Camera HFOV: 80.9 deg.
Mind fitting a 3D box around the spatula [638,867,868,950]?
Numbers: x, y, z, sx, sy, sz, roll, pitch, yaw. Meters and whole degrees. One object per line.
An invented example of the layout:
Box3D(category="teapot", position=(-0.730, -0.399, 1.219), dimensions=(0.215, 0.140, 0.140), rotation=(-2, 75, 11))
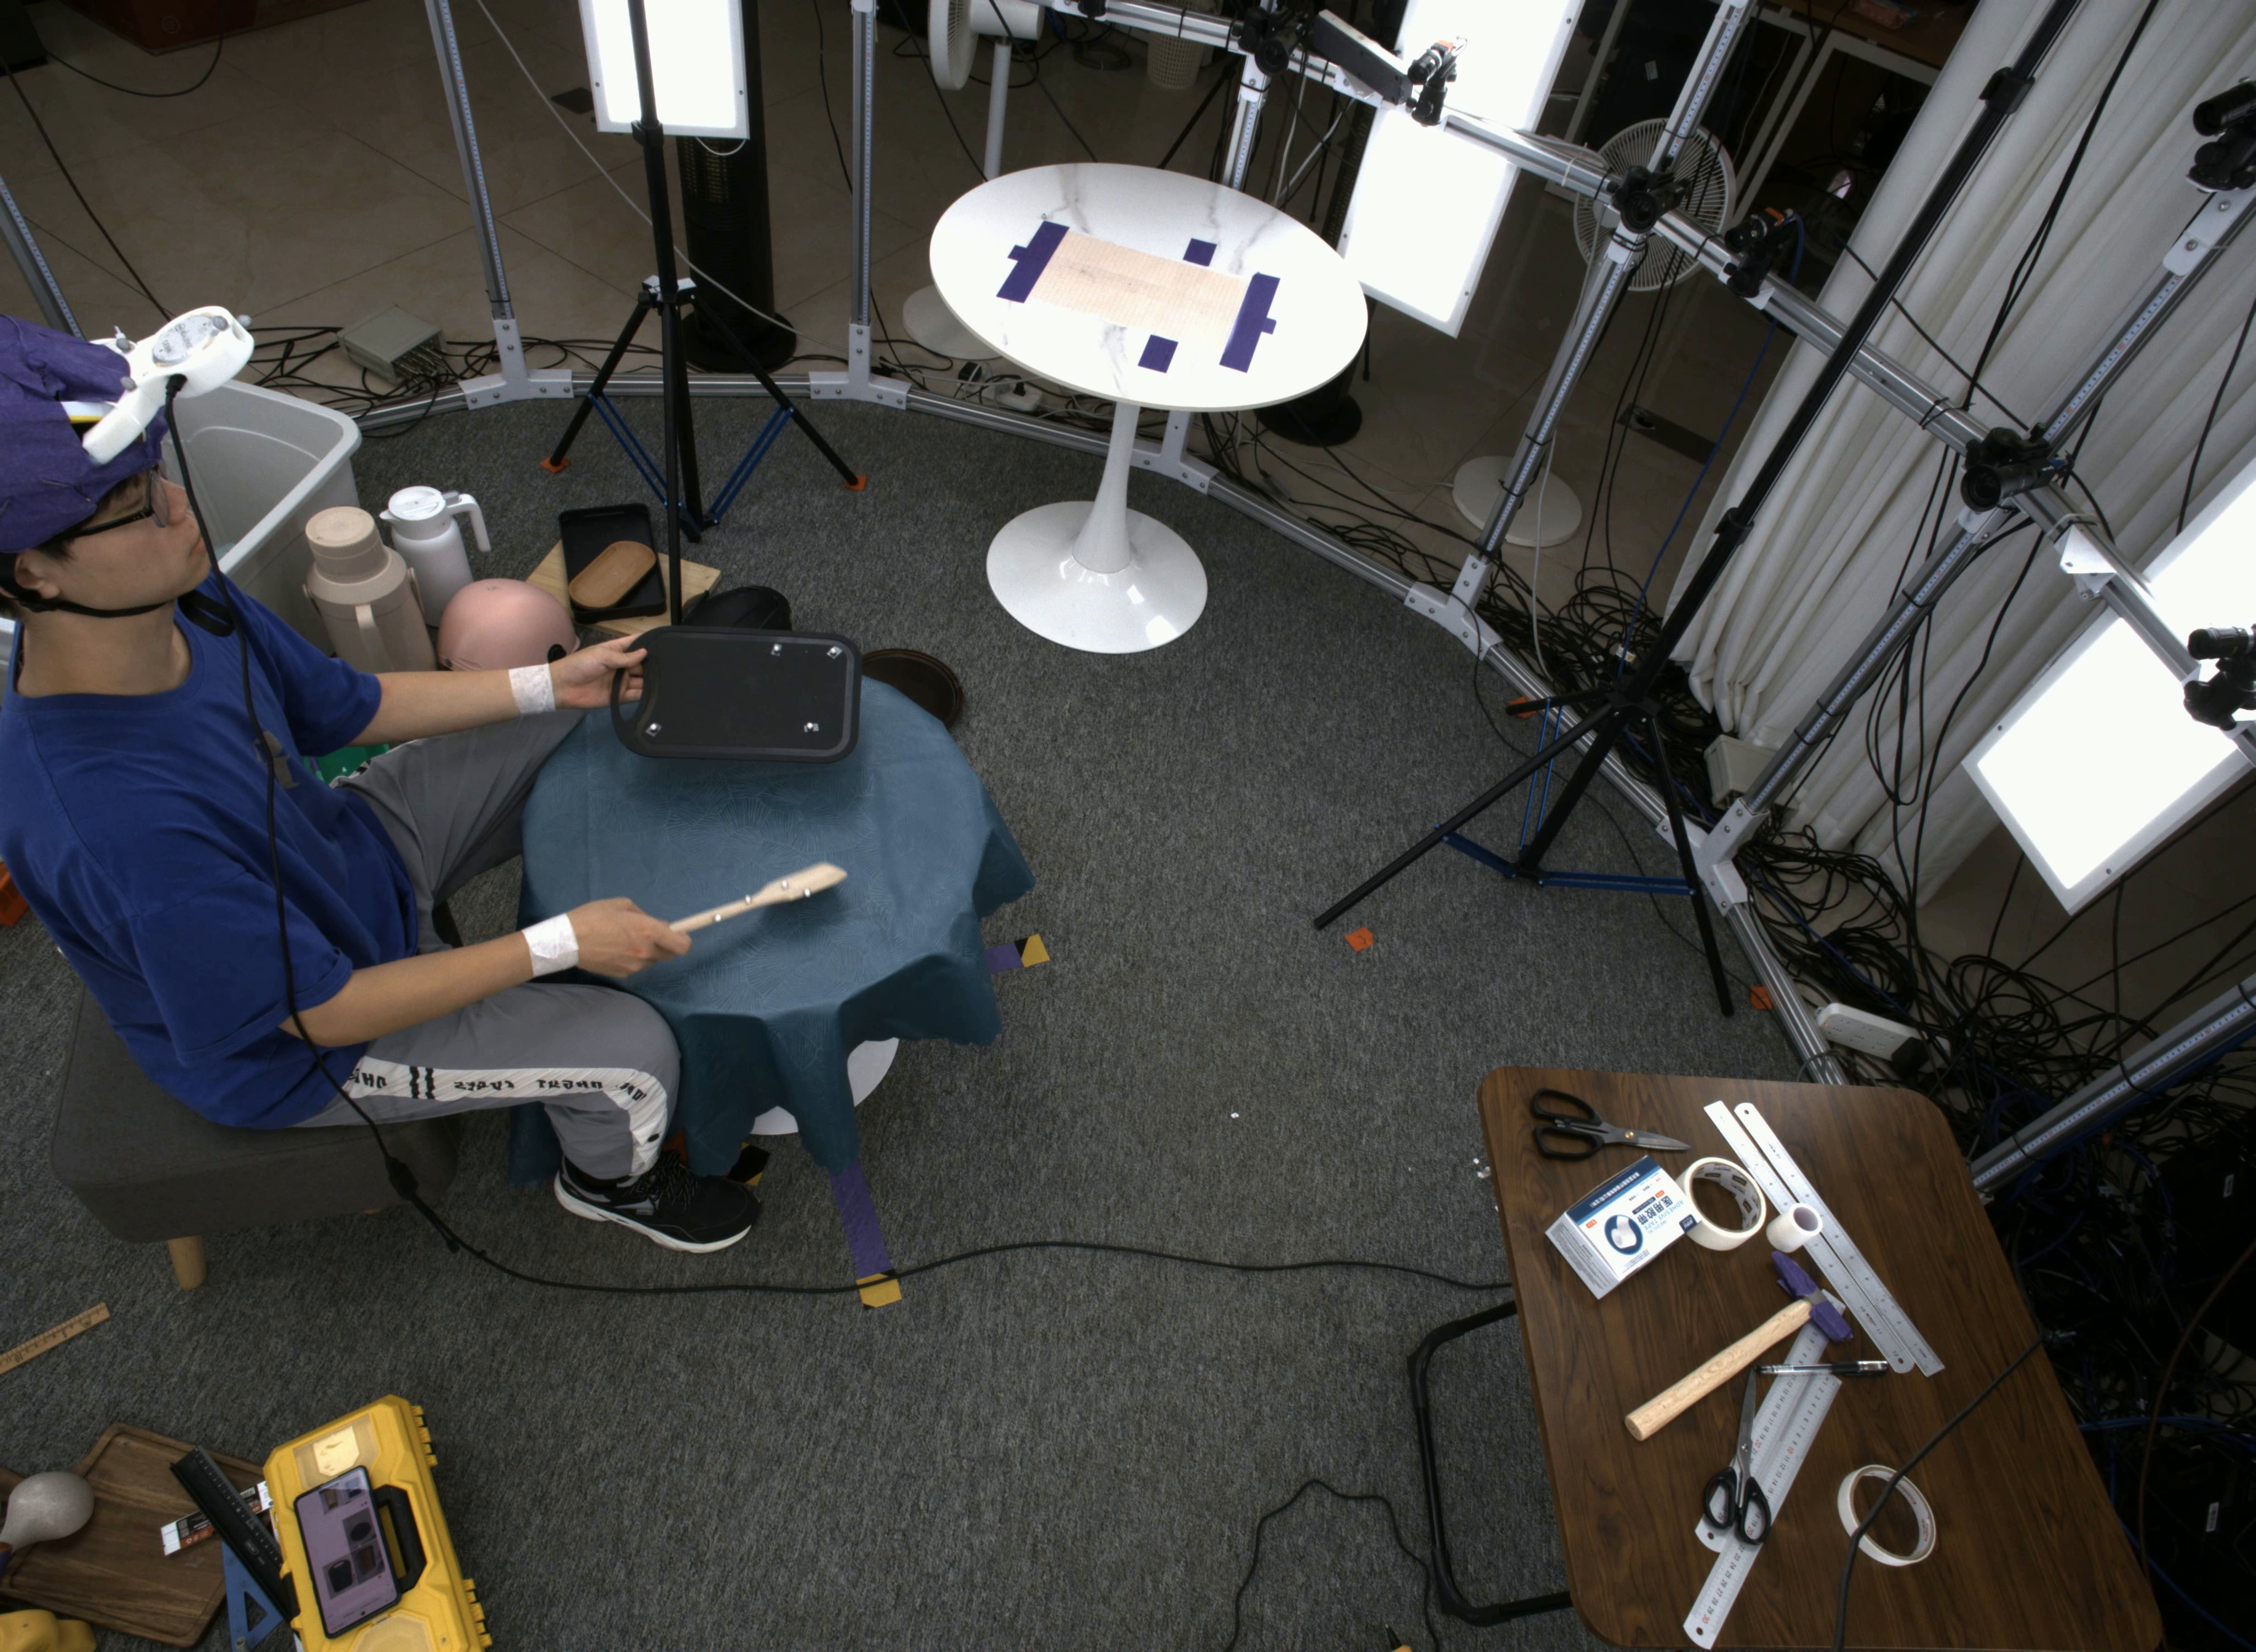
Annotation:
Box3D(category="spatula", position=(-0.461, 0.100, 1.589), dimensions=(0.295, 0.011, 0.069), rotation=(-19, 22, -35))

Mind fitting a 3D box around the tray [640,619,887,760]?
Box3D(category="tray", position=(-0.491, -0.186, 1.728), dimensions=(0.325, 0.010, 0.208), rotation=(4, 63, -11))
